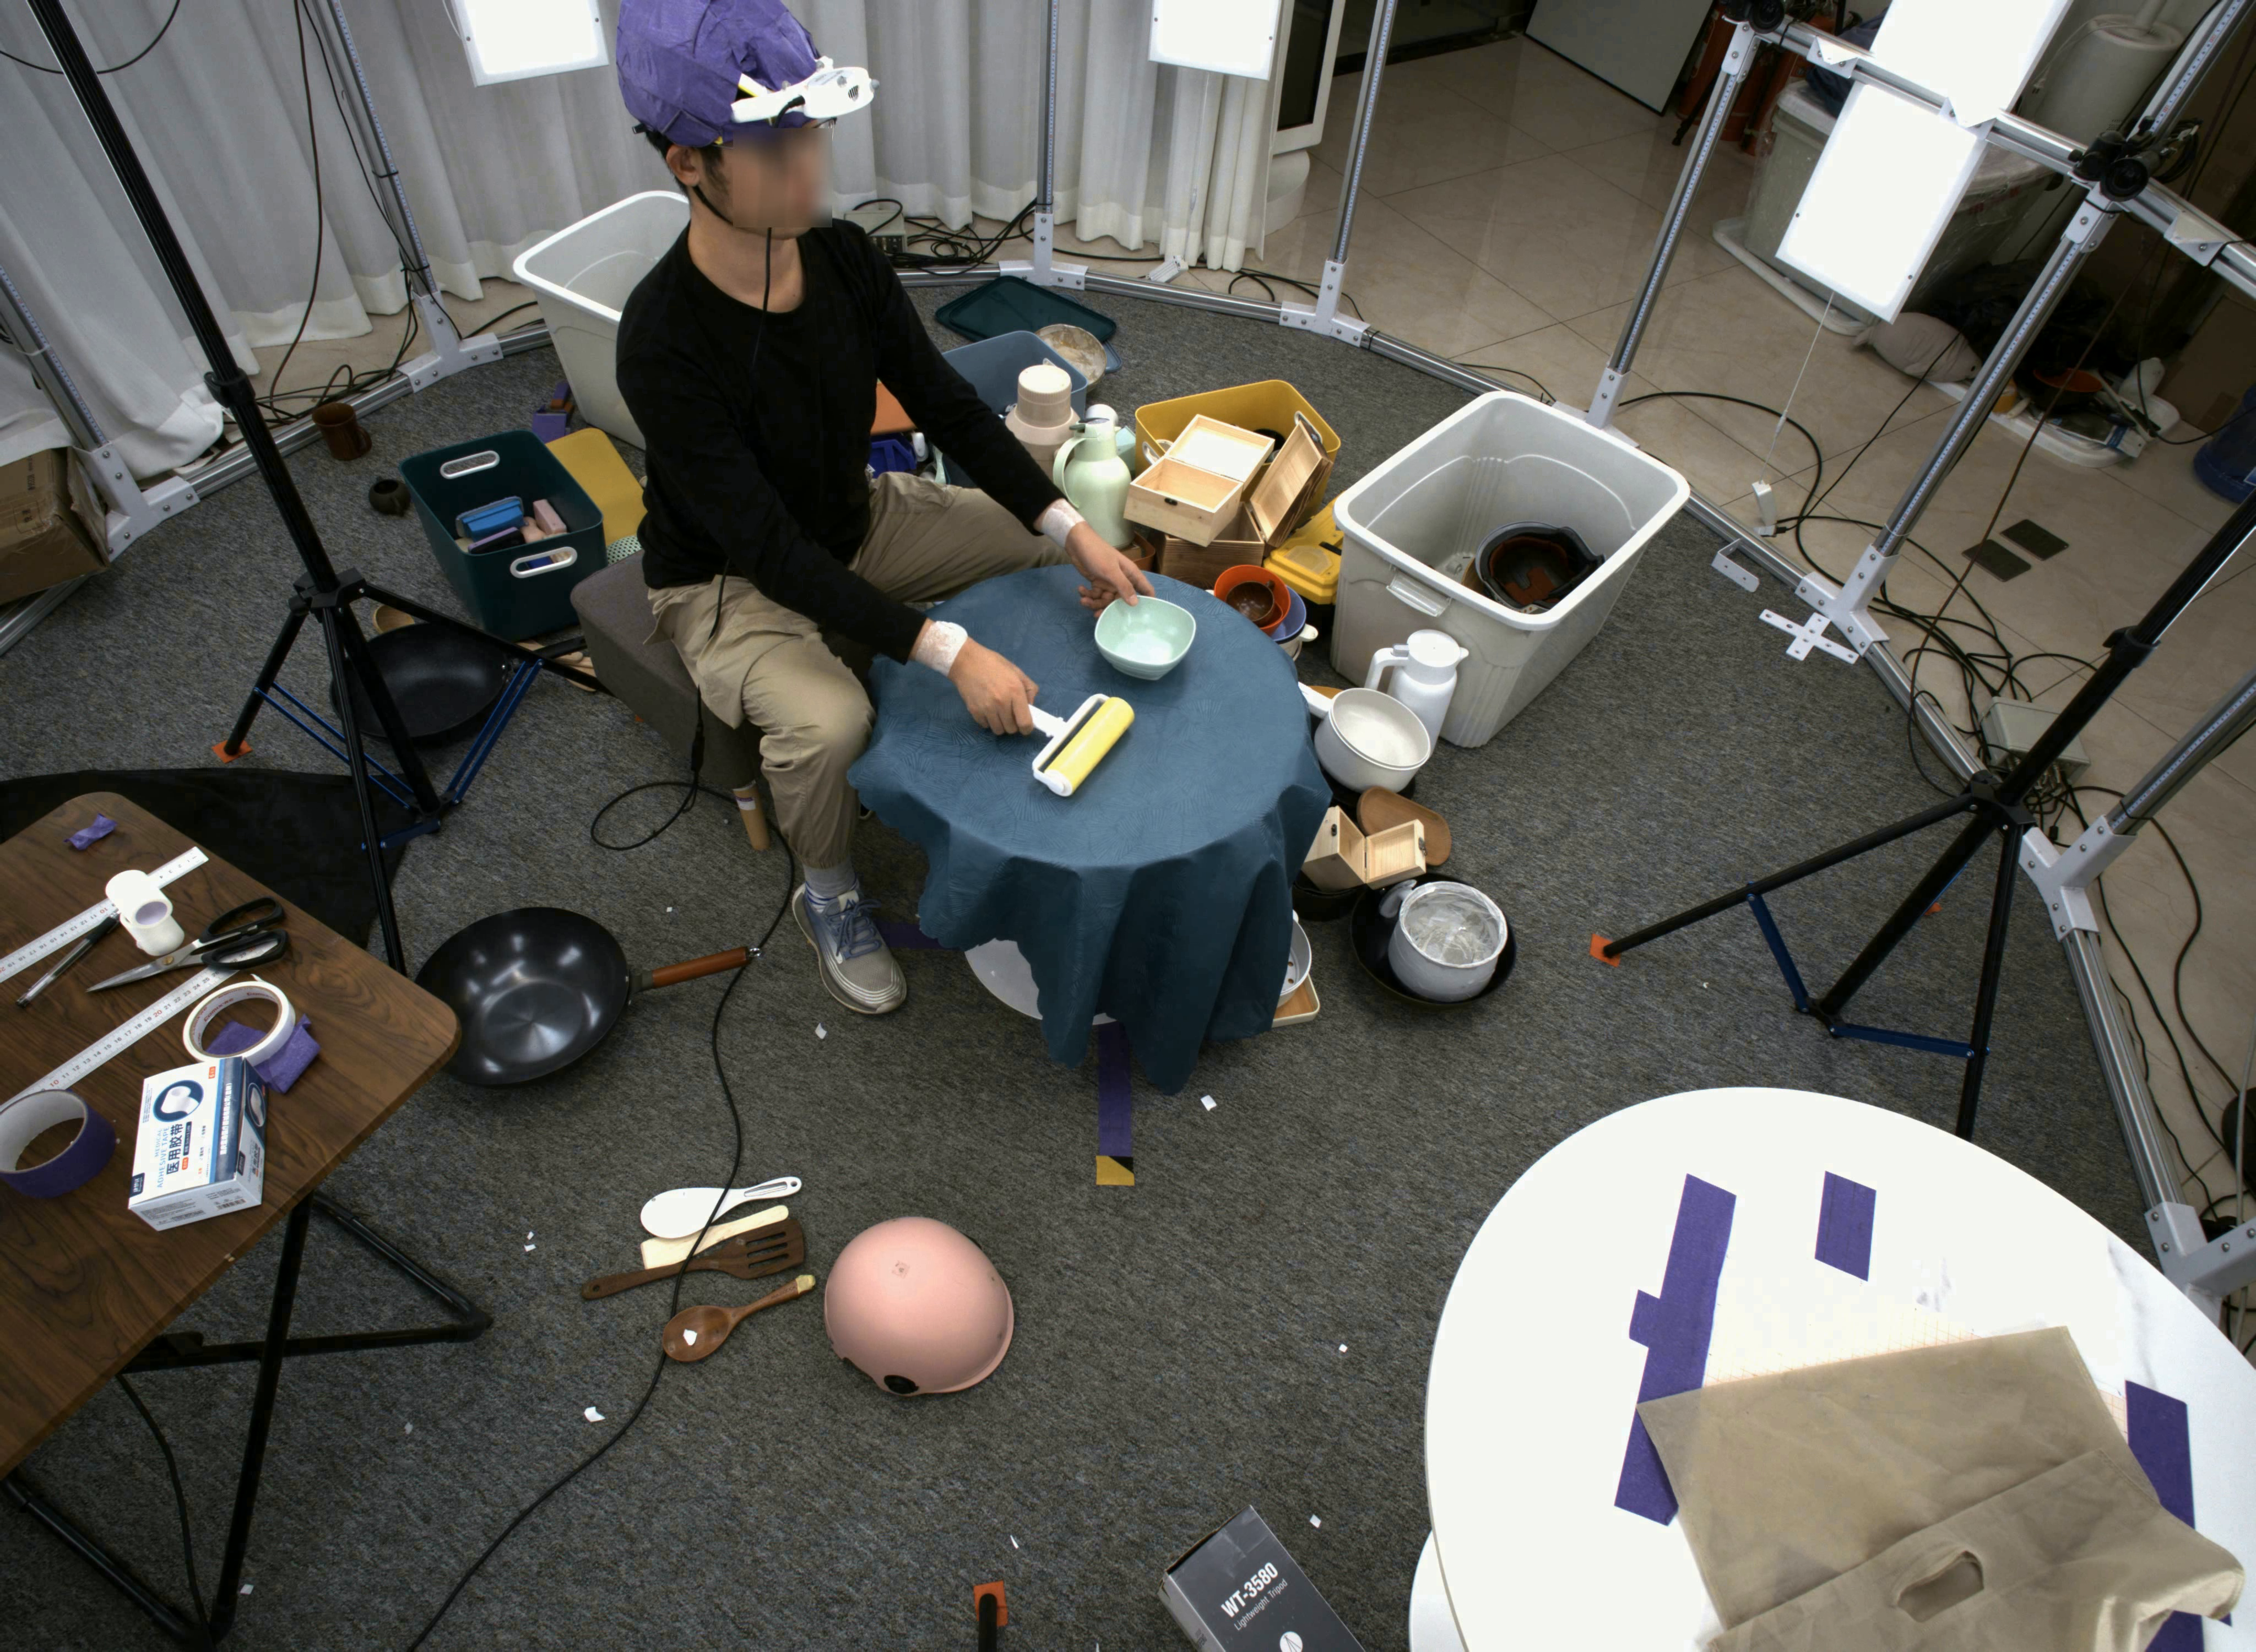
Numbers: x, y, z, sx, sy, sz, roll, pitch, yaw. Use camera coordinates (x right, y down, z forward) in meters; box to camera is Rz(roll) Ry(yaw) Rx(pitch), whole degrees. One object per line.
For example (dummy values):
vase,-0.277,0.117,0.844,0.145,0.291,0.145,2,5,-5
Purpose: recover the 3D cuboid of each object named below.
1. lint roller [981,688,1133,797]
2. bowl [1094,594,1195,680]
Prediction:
lint roller,-0.114,-0.144,1.741,0.193,0.050,0.177,32,54,7
bowl,0.022,-0.266,1.865,0.151,0.057,0.155,3,50,-3
